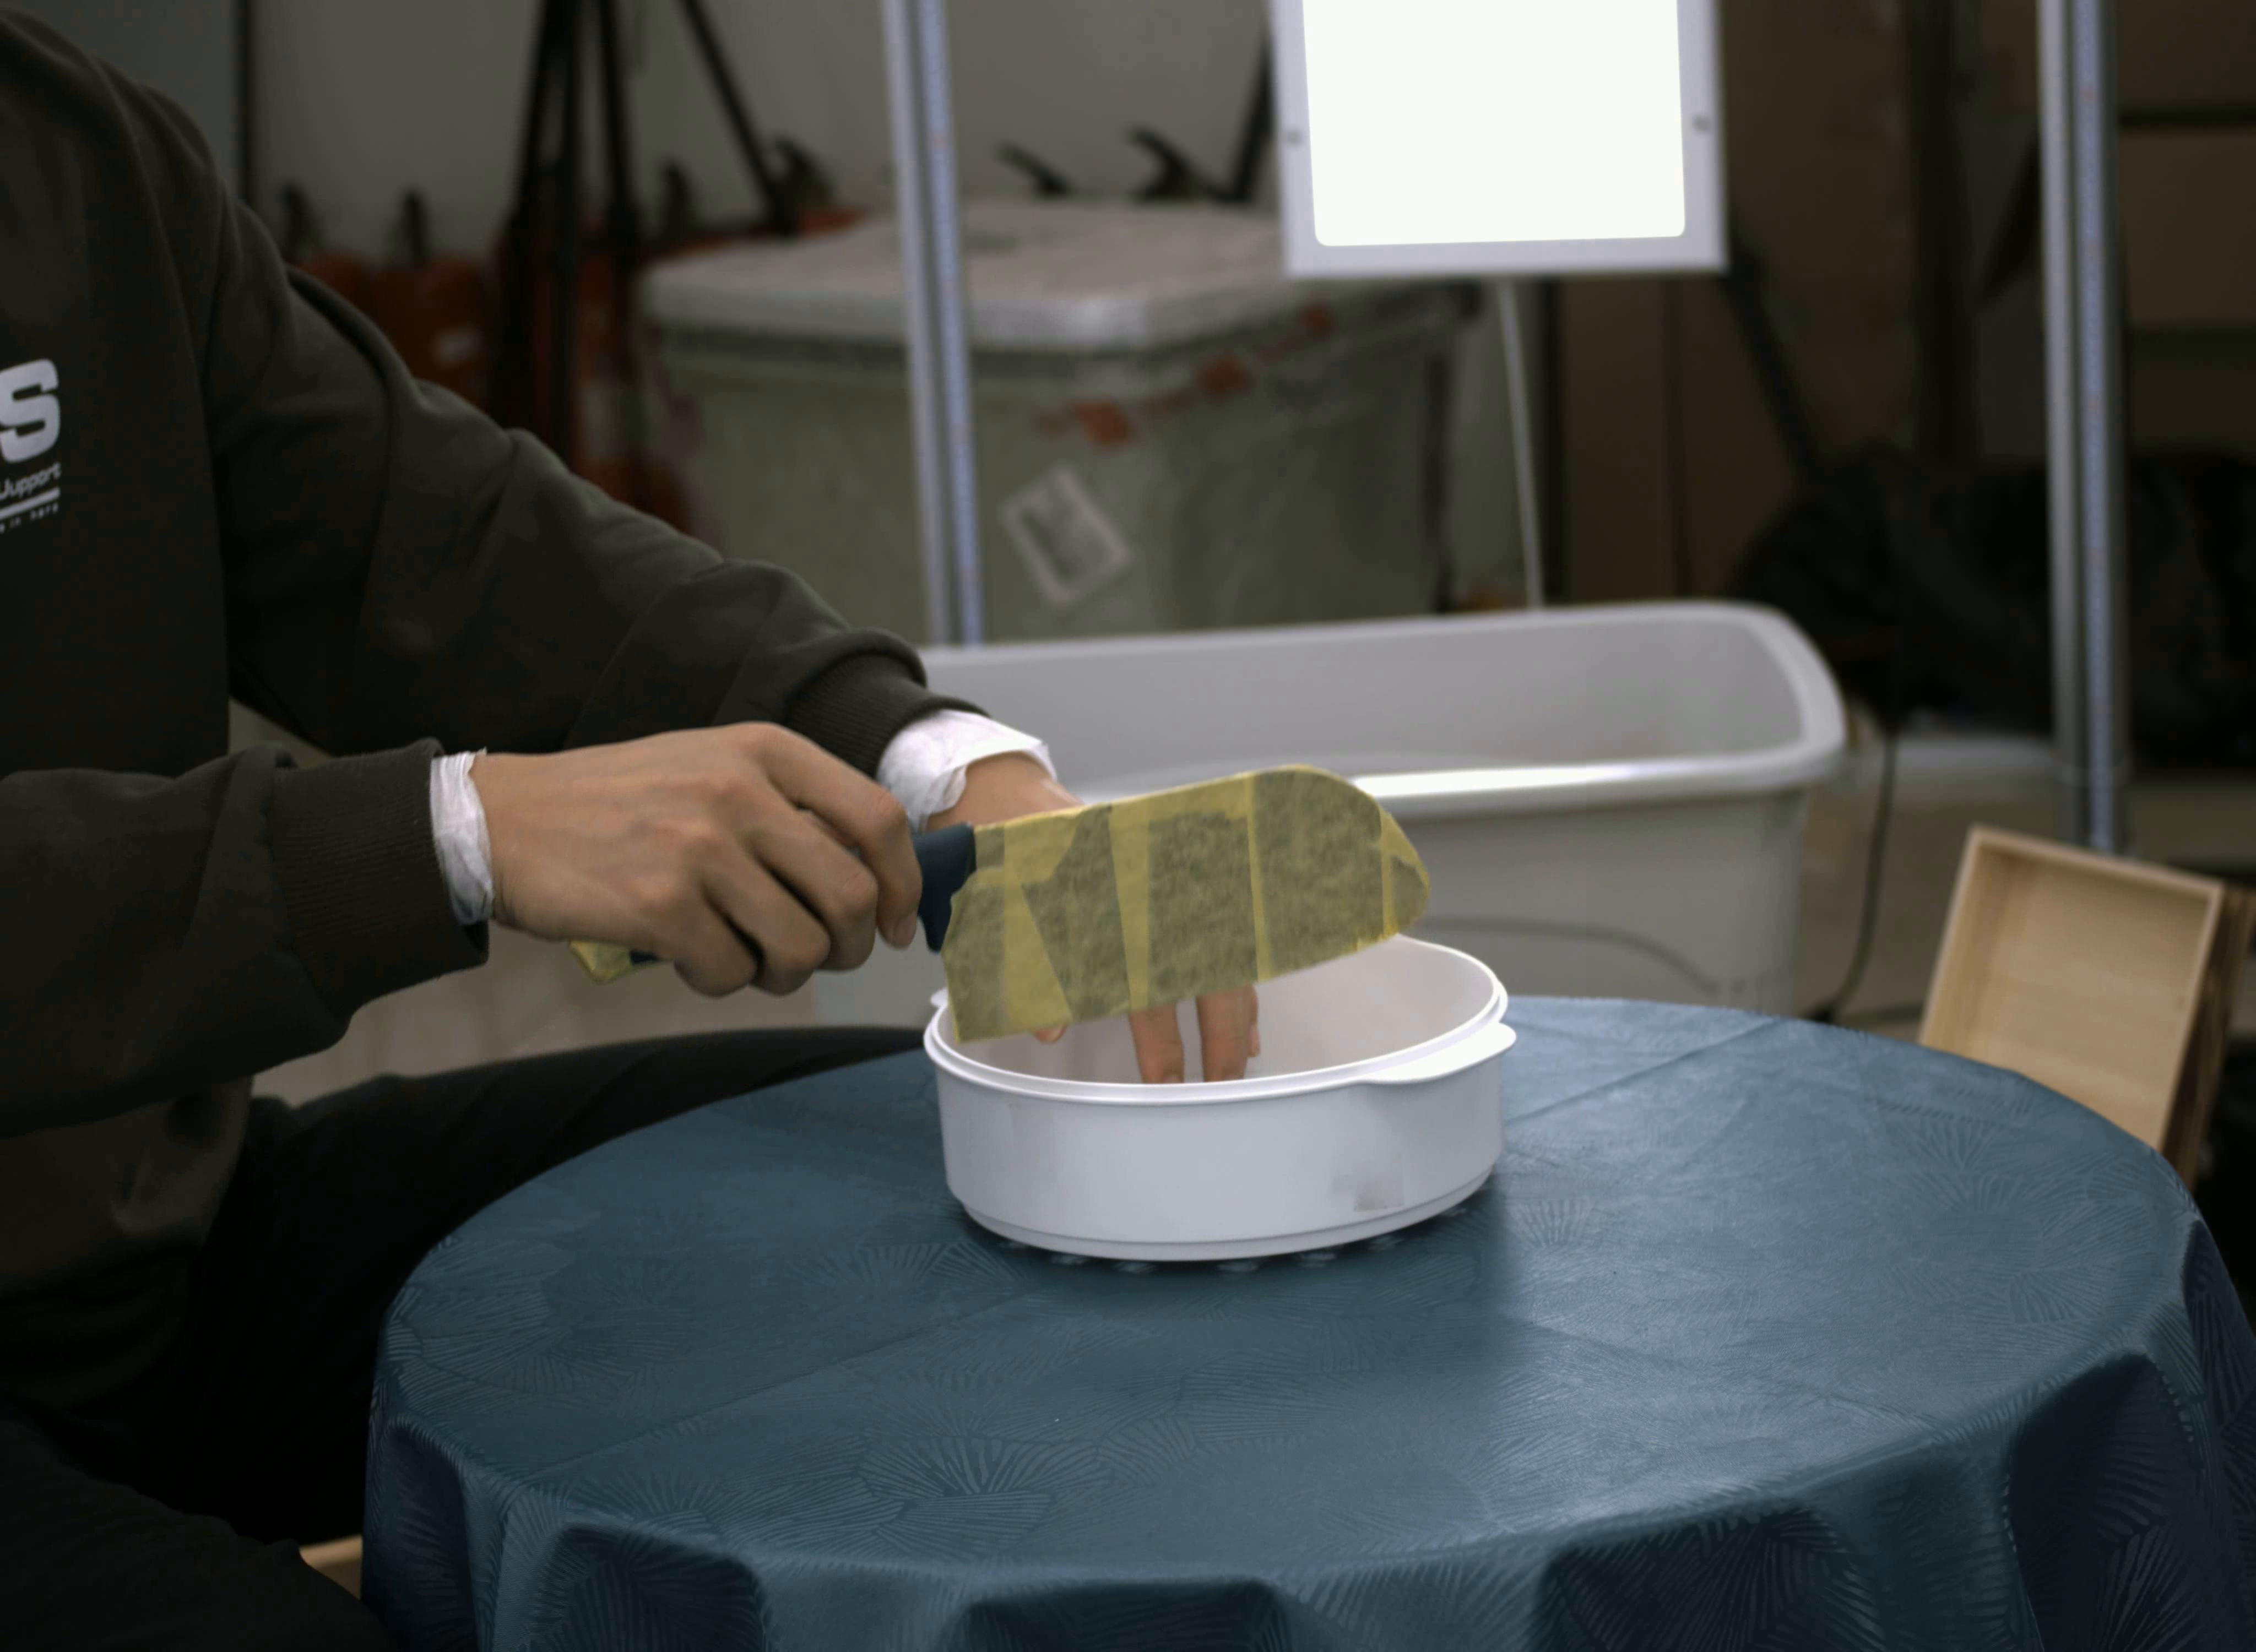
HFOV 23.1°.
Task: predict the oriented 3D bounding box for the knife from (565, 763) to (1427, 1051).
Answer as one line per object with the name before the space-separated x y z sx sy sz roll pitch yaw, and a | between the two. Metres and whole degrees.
knife | -0.038 0.031 1.764 0.285 0.081 0.027 -8 16 -14

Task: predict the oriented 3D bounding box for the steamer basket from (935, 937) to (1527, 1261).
steamer basket | 0.036 0.093 1.885 0.235 0.069 0.197 6 17 43
